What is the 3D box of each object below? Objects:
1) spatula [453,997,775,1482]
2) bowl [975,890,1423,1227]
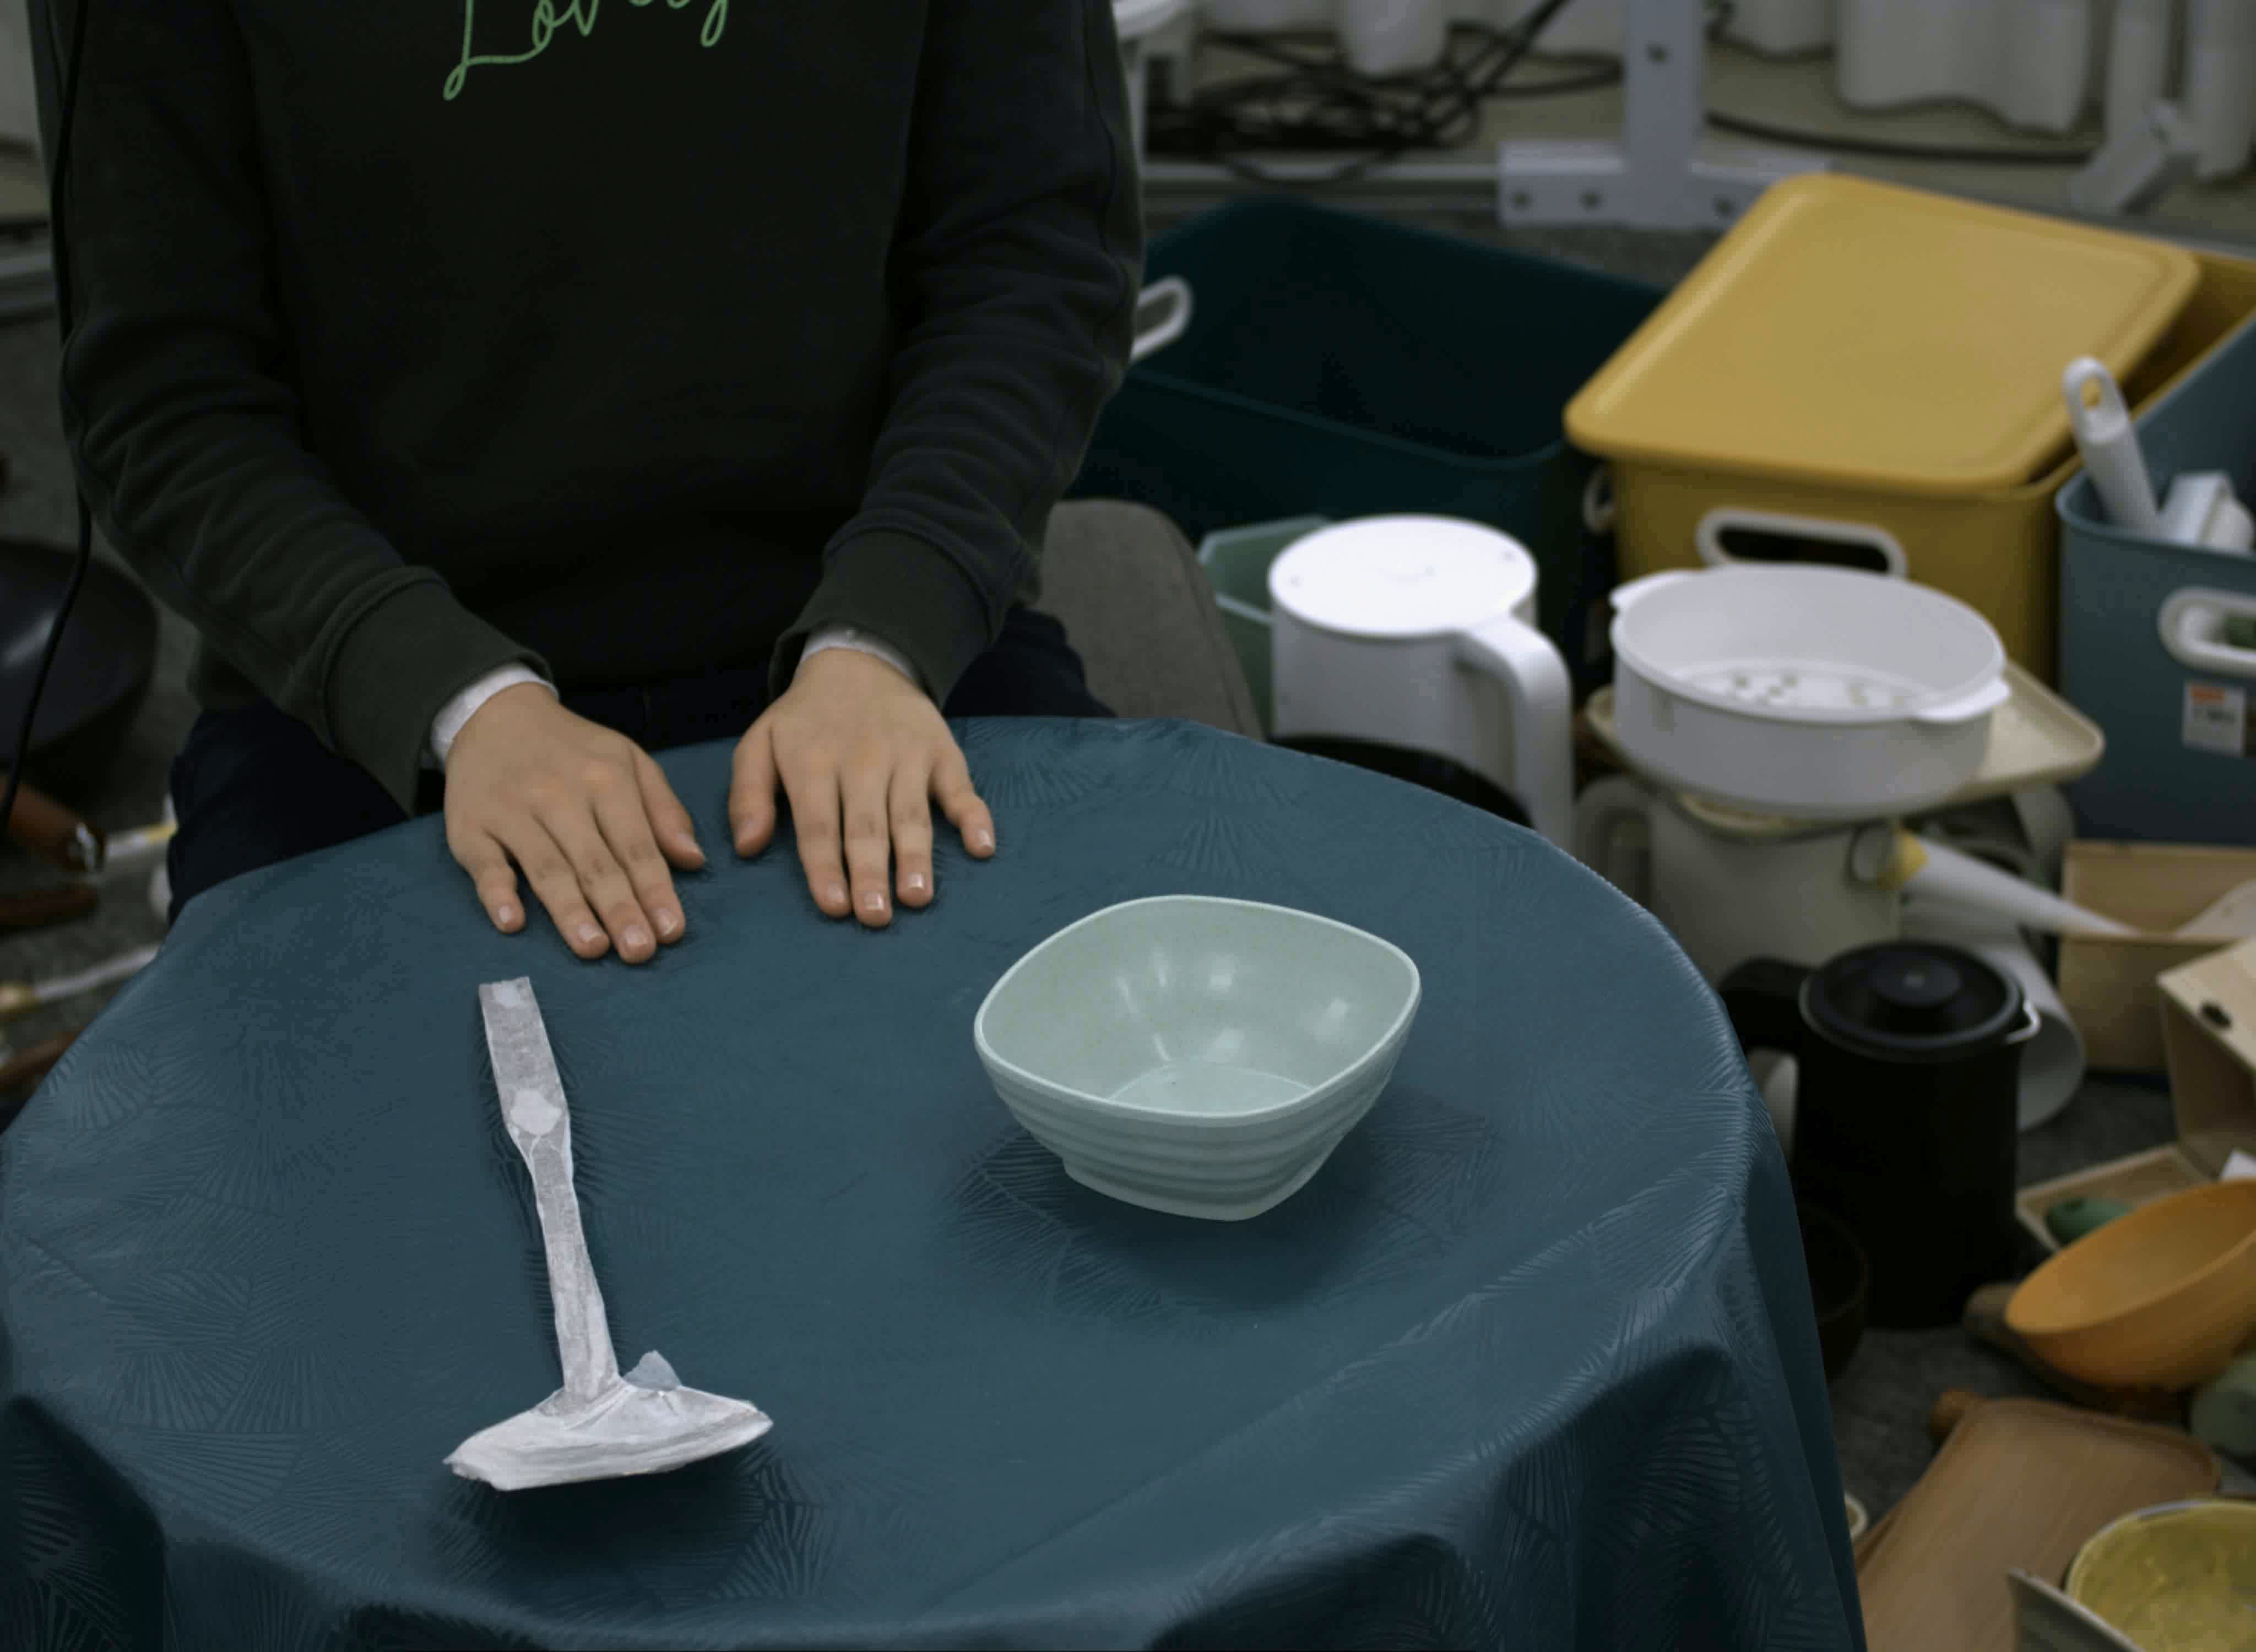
[{"bbox_3d":[-0.181,0.127,1.828,0.098,0.044,0.369,-9,28,-7],"label":"spatula"},{"bbox_3d":[0.024,0.084,1.873,0.151,0.058,0.154,-1,29,1],"label":"bowl"}]
